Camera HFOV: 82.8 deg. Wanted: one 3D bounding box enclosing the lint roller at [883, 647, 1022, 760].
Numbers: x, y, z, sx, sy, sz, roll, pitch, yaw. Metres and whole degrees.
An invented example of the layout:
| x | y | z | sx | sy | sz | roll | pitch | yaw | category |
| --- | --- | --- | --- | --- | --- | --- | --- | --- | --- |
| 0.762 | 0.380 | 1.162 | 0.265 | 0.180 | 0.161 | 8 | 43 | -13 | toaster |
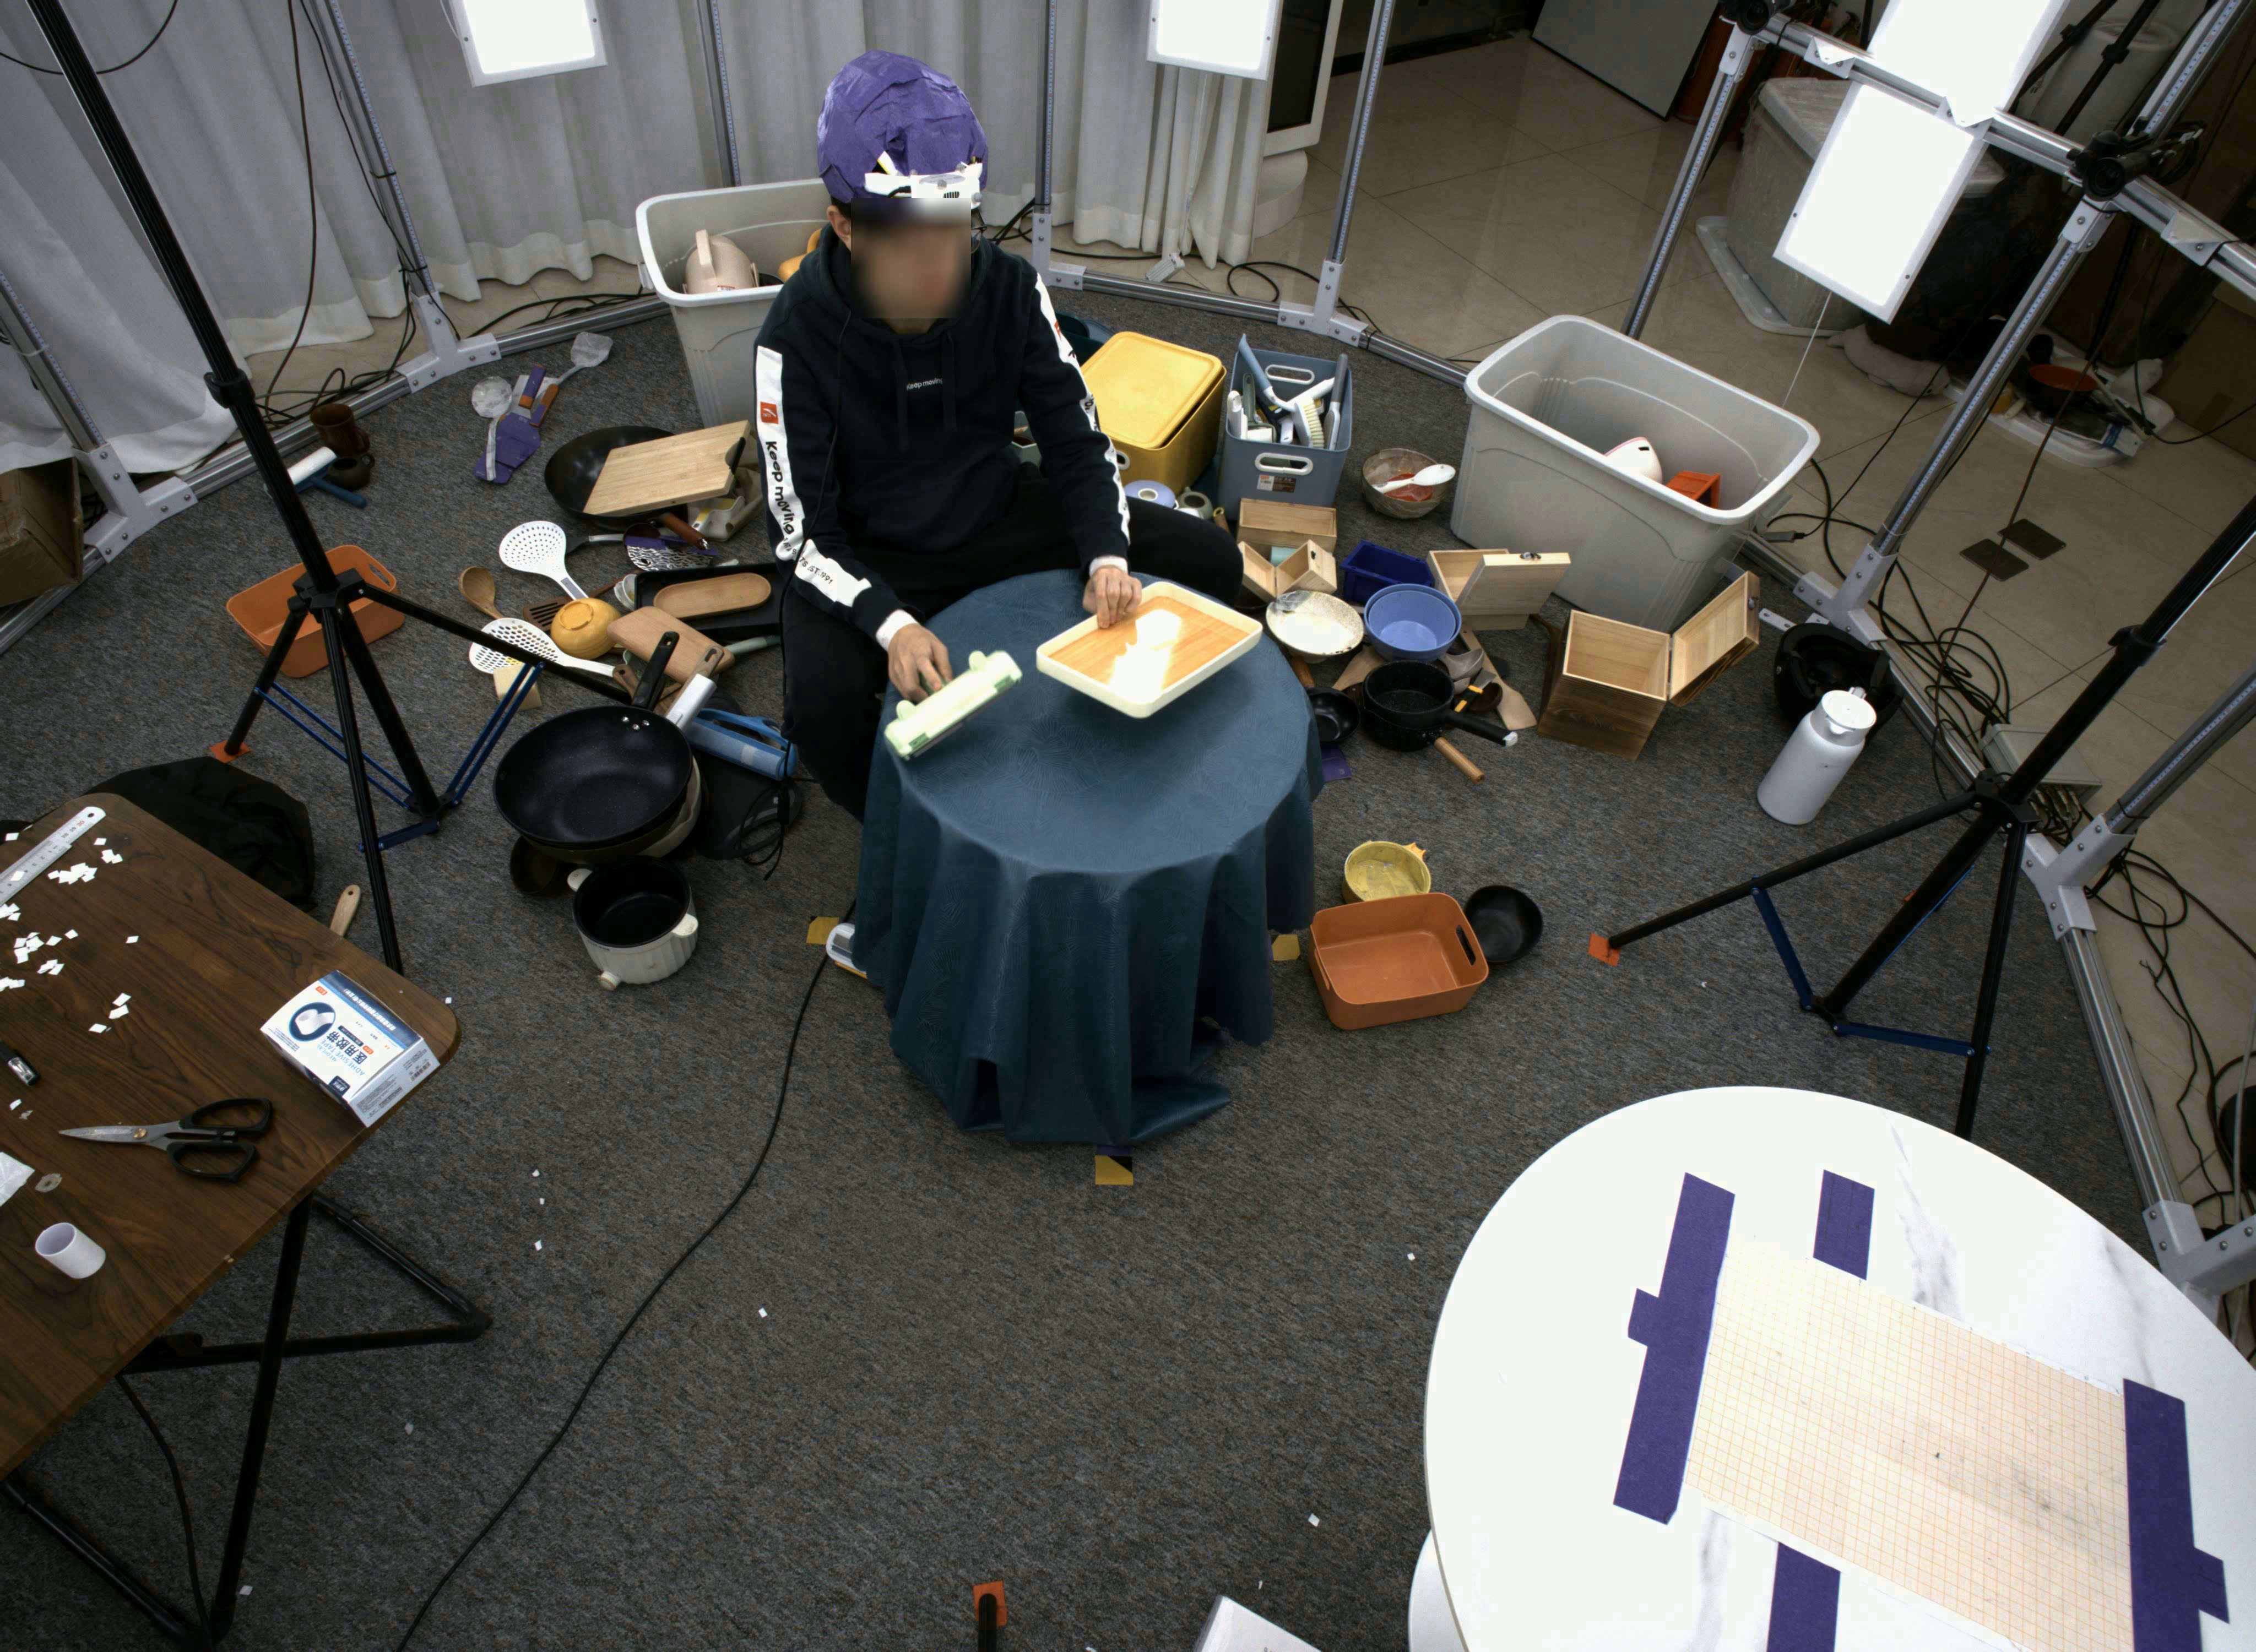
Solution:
| x | y | z | sx | sy | sz | roll | pitch | yaw | category |
| --- | --- | --- | --- | --- | --- | --- | --- | --- | --- |
| -0.264 | -0.199 | 1.736 | 0.199 | 0.080 | 0.187 | -37 | 51 | -9 | lint roller |

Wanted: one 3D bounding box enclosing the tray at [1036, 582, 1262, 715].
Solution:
| x | y | z | sx | sy | sz | roll | pitch | yaw | category |
| --- | --- | --- | --- | --- | --- | --- | --- | --- | --- |
| 0.033 | -0.252 | 1.780 | 0.194 | 0.027 | 0.303 | 27 | 41 | 27 | tray |
